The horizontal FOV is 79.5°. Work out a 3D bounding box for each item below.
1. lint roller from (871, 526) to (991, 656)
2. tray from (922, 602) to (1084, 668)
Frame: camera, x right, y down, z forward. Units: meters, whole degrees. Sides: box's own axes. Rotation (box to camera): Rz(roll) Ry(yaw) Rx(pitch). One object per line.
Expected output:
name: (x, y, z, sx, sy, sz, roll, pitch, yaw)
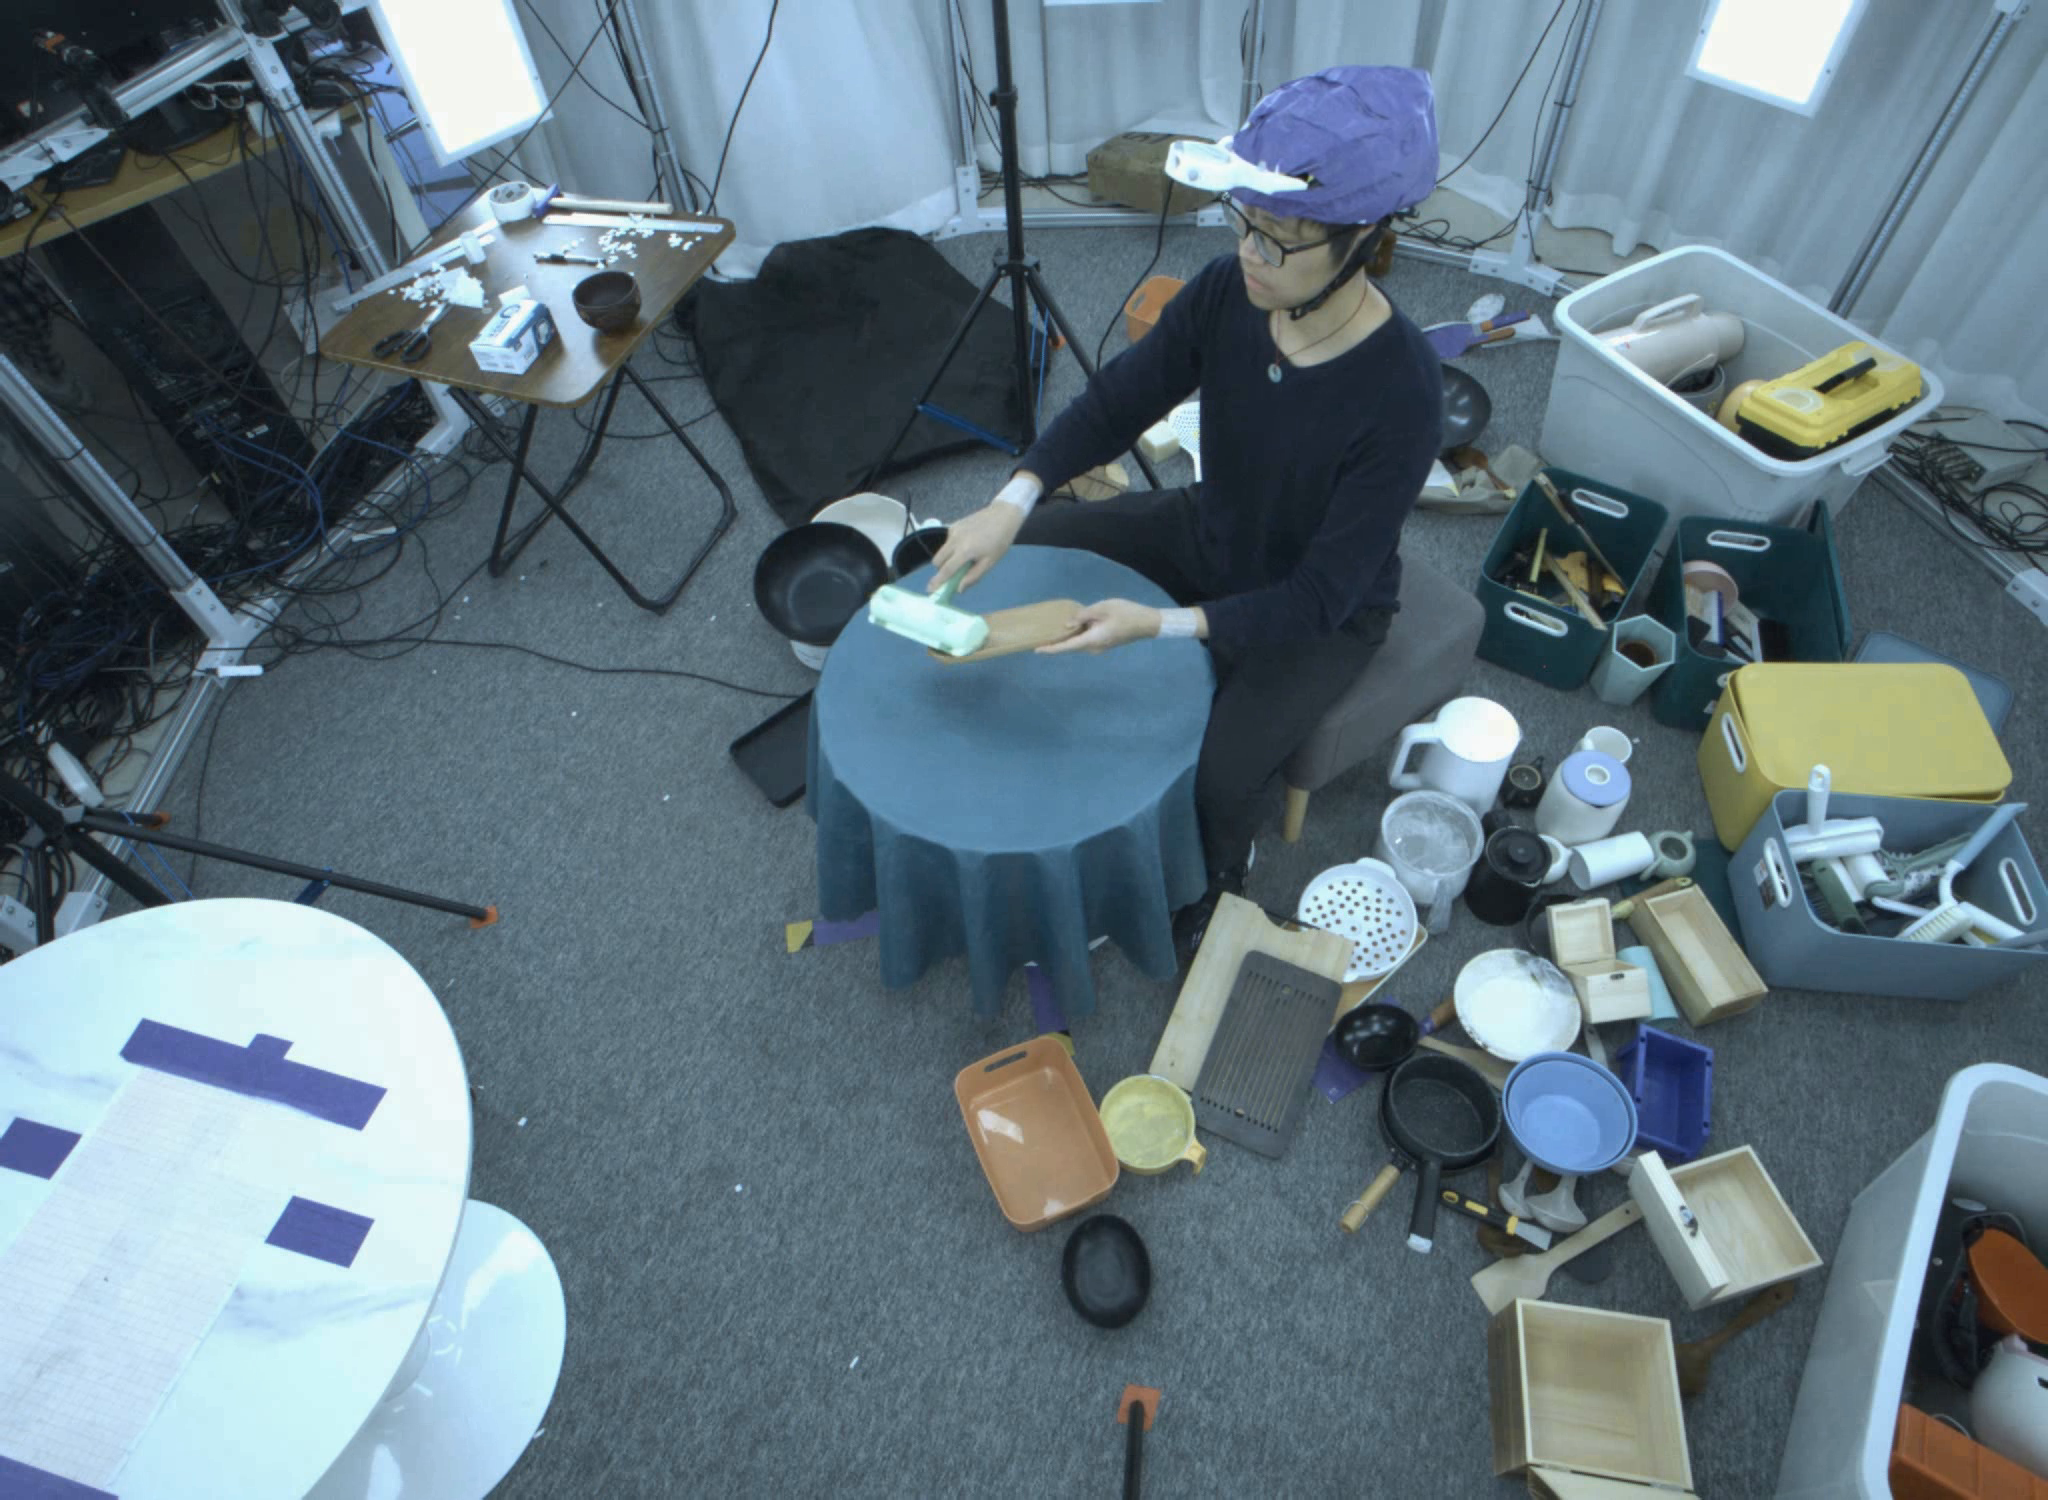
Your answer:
lint roller: (-0.119, -0.241, 1.726, 0.194, 0.084, 0.183, 23, 92, 34)
tray: (-0.029, -0.160, 1.719, 0.230, 0.020, 0.100, -12, 36, 5)
